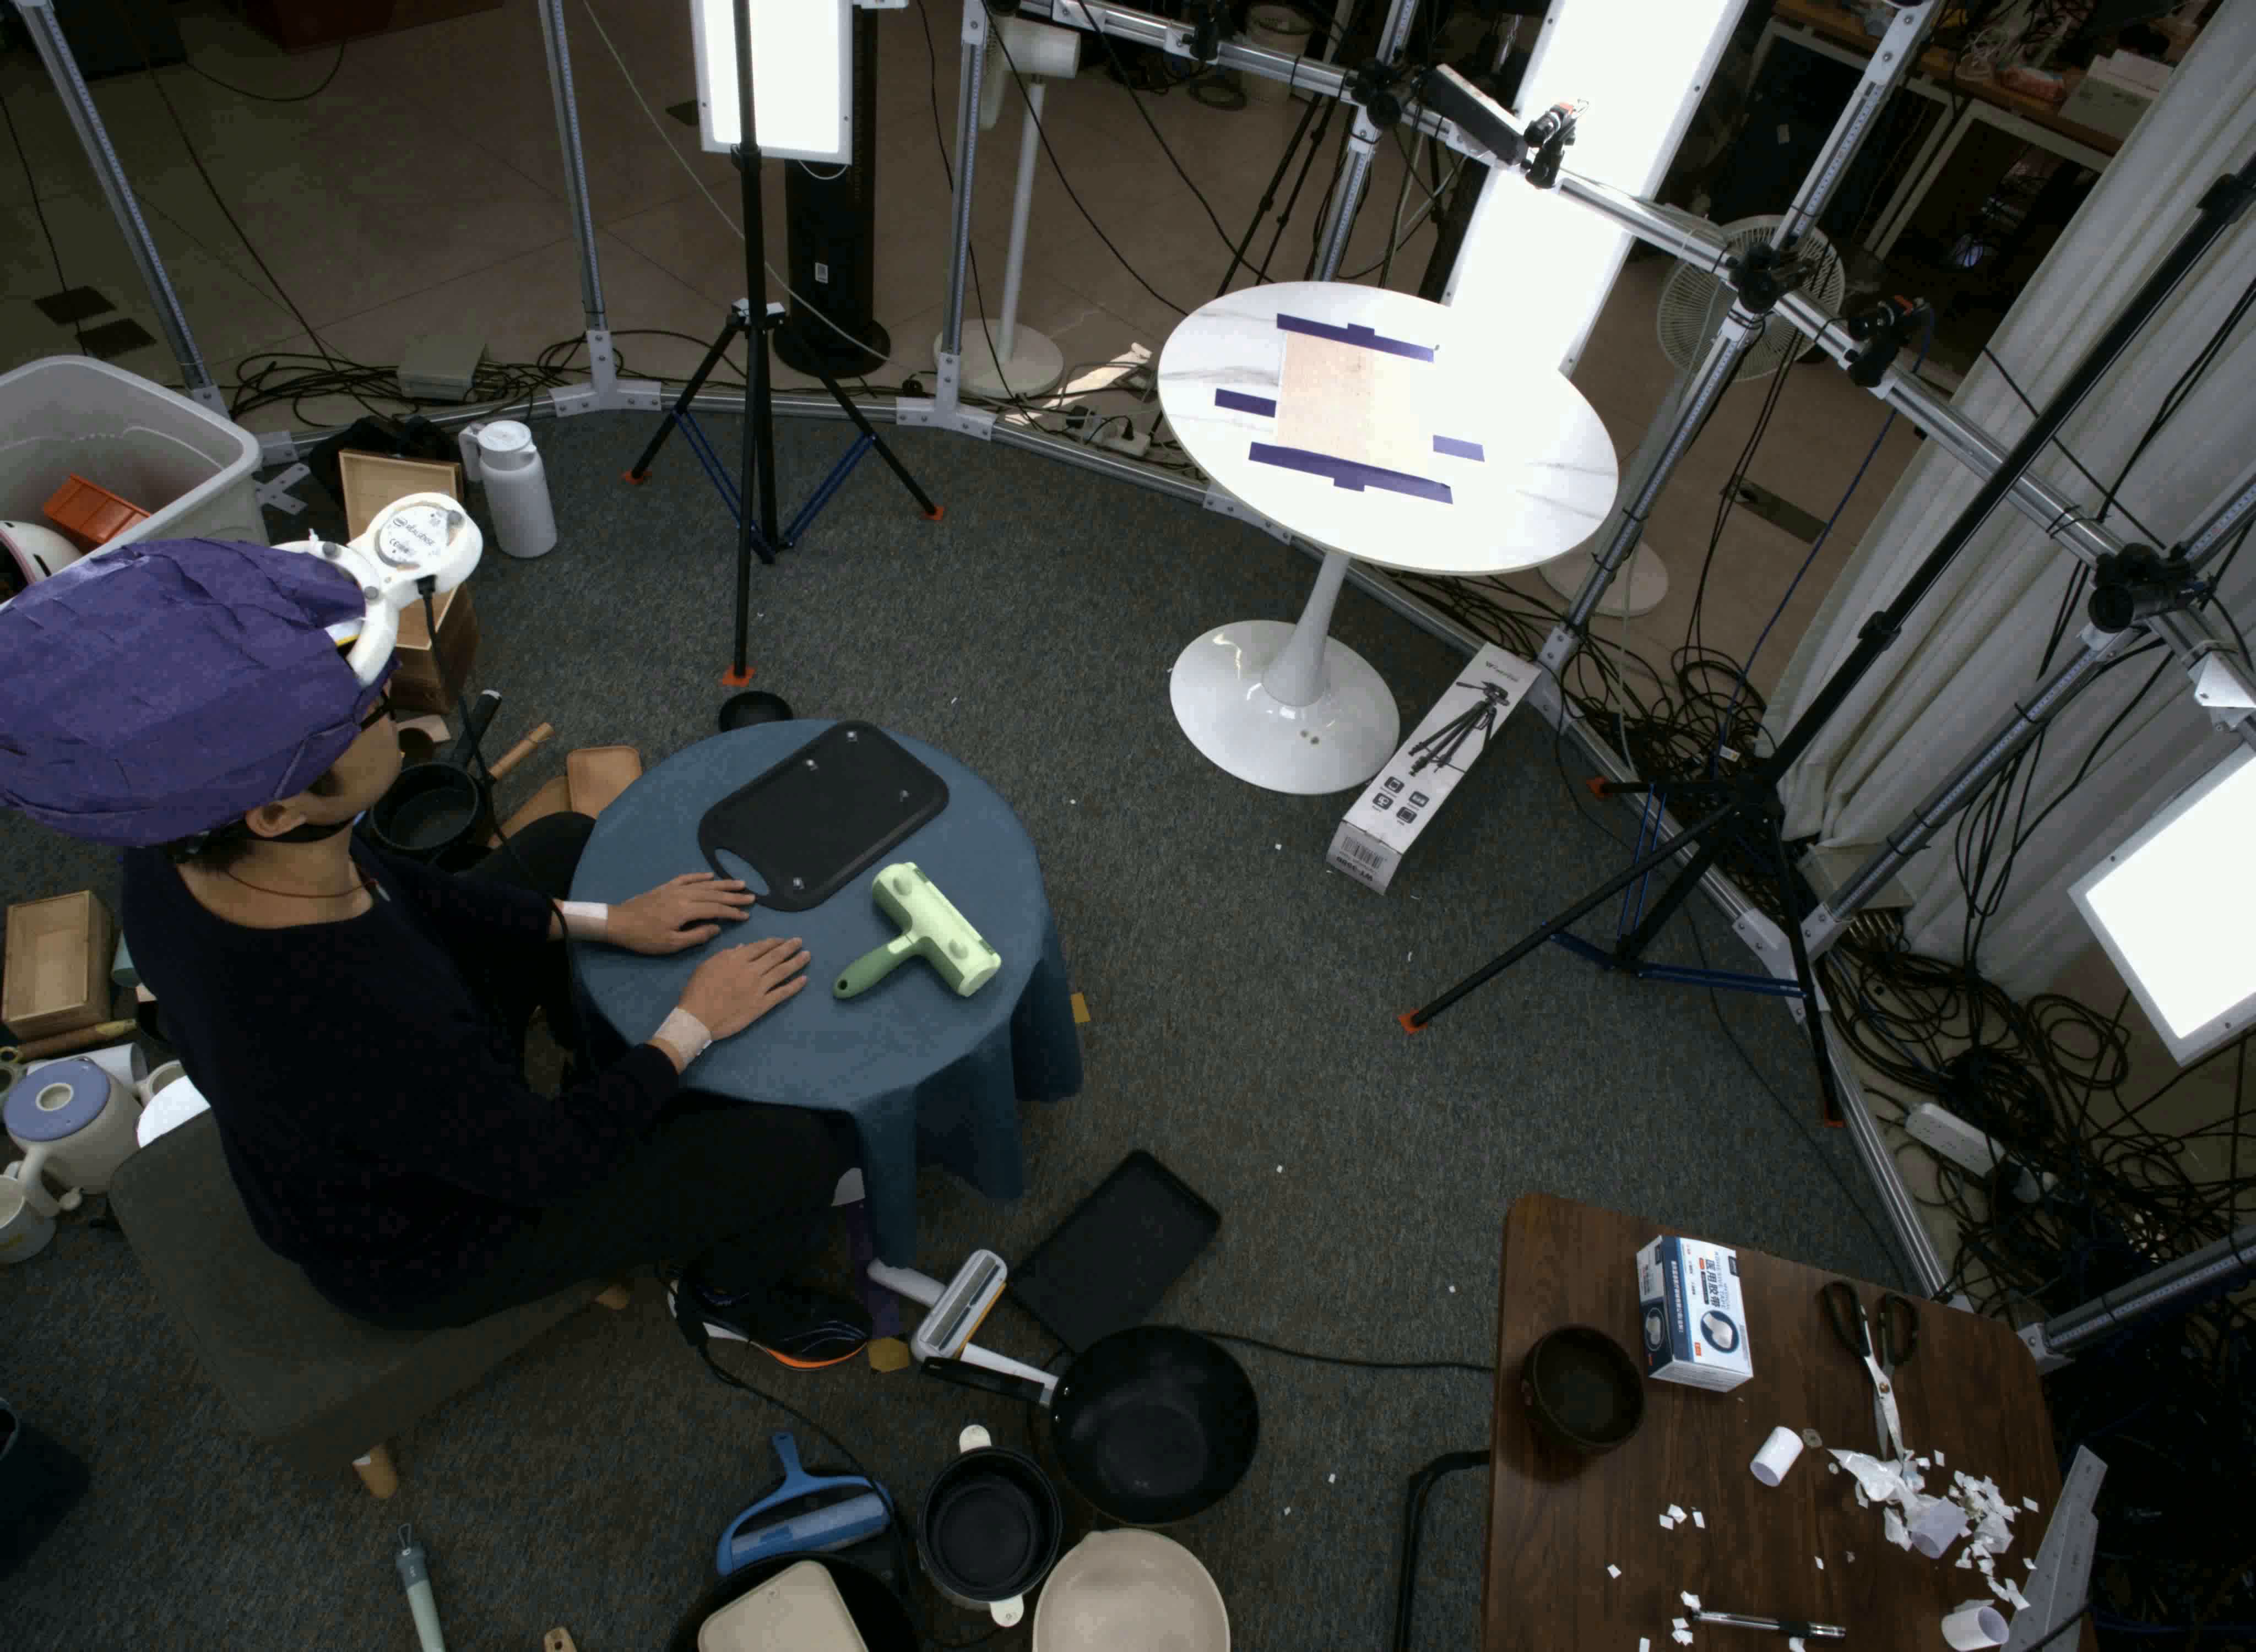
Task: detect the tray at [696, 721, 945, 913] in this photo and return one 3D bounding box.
[{"bbox_3d":[-0.410,-0.016,1.726,0.207,0.010,0.325,38,54,14],"label":"tray"}]

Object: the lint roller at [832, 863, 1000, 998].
[{"bbox_3d":[-0.283,0.142,1.589,0.194,0.084,0.184,43,49,20],"label":"lint roller"}]
